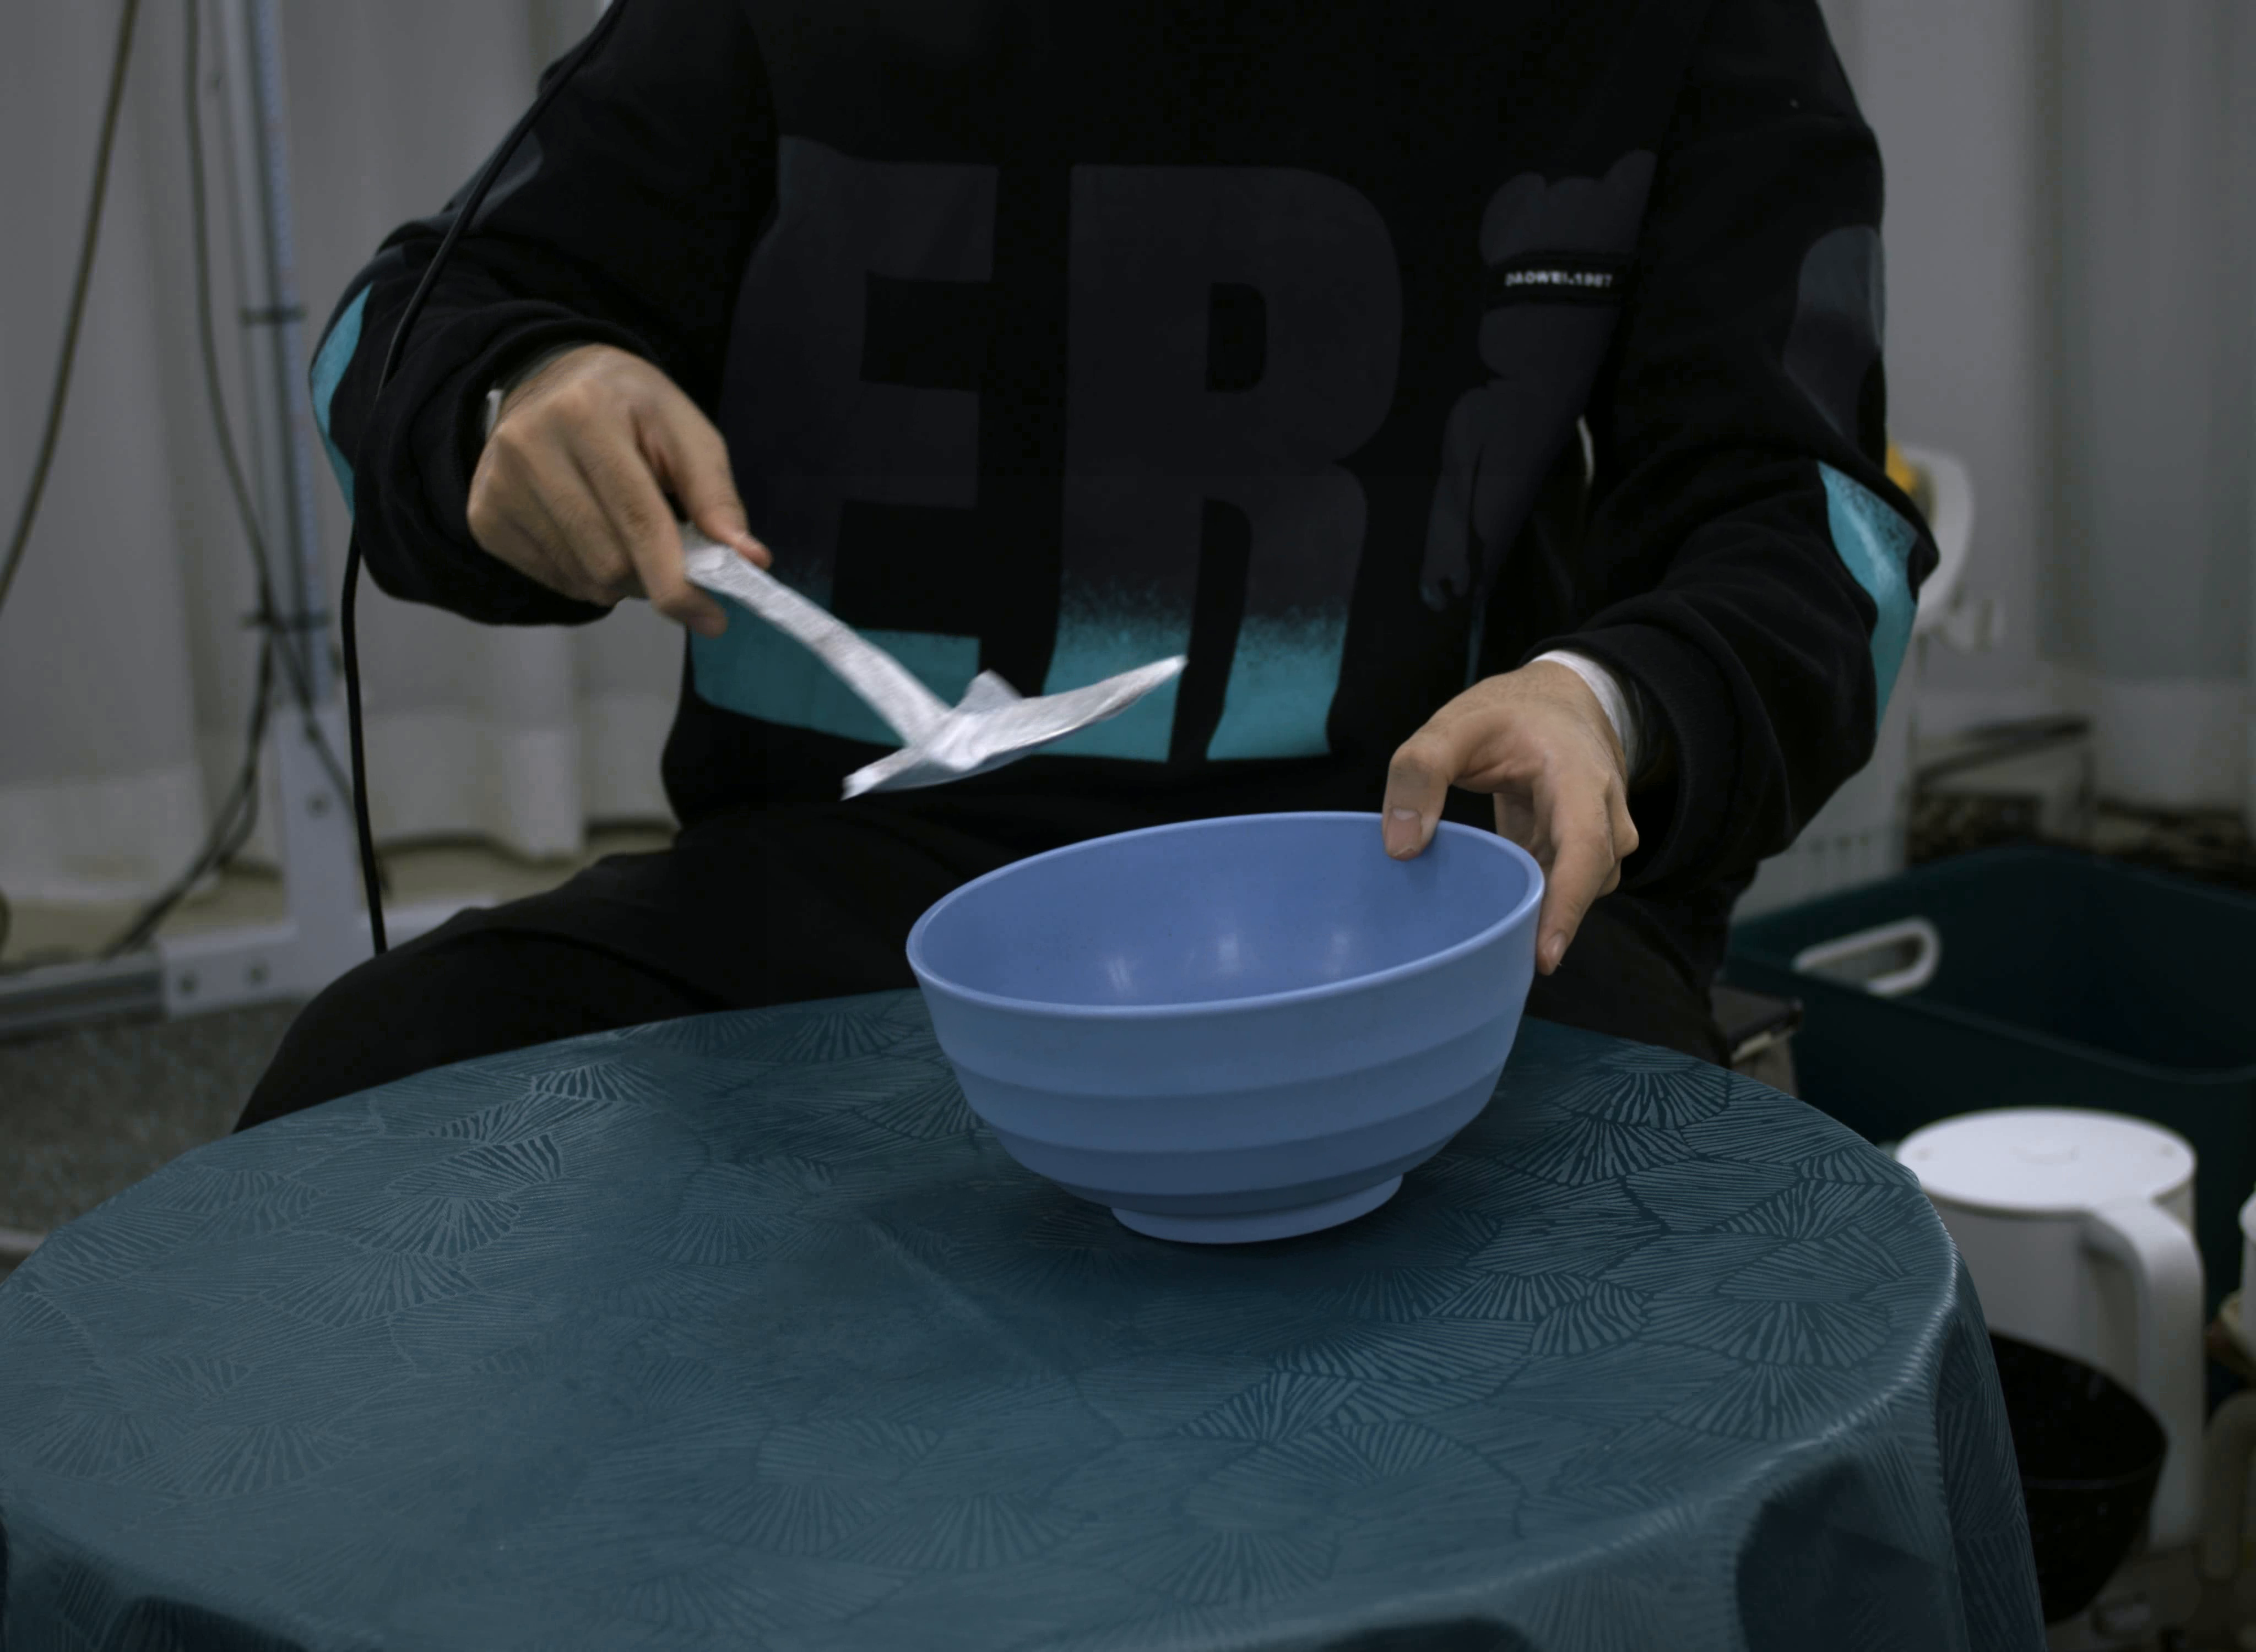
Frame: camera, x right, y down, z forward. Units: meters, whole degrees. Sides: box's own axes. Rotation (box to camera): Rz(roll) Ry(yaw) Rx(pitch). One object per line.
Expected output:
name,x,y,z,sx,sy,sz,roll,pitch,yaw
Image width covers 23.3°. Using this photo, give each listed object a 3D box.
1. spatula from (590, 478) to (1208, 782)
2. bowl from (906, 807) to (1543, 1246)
spatula,-0.097,-0.073,1.736,0.098,0.044,0.368,-24,30,-22
bowl,0.034,0.068,1.682,0.196,0.095,0.198,-7,16,2
